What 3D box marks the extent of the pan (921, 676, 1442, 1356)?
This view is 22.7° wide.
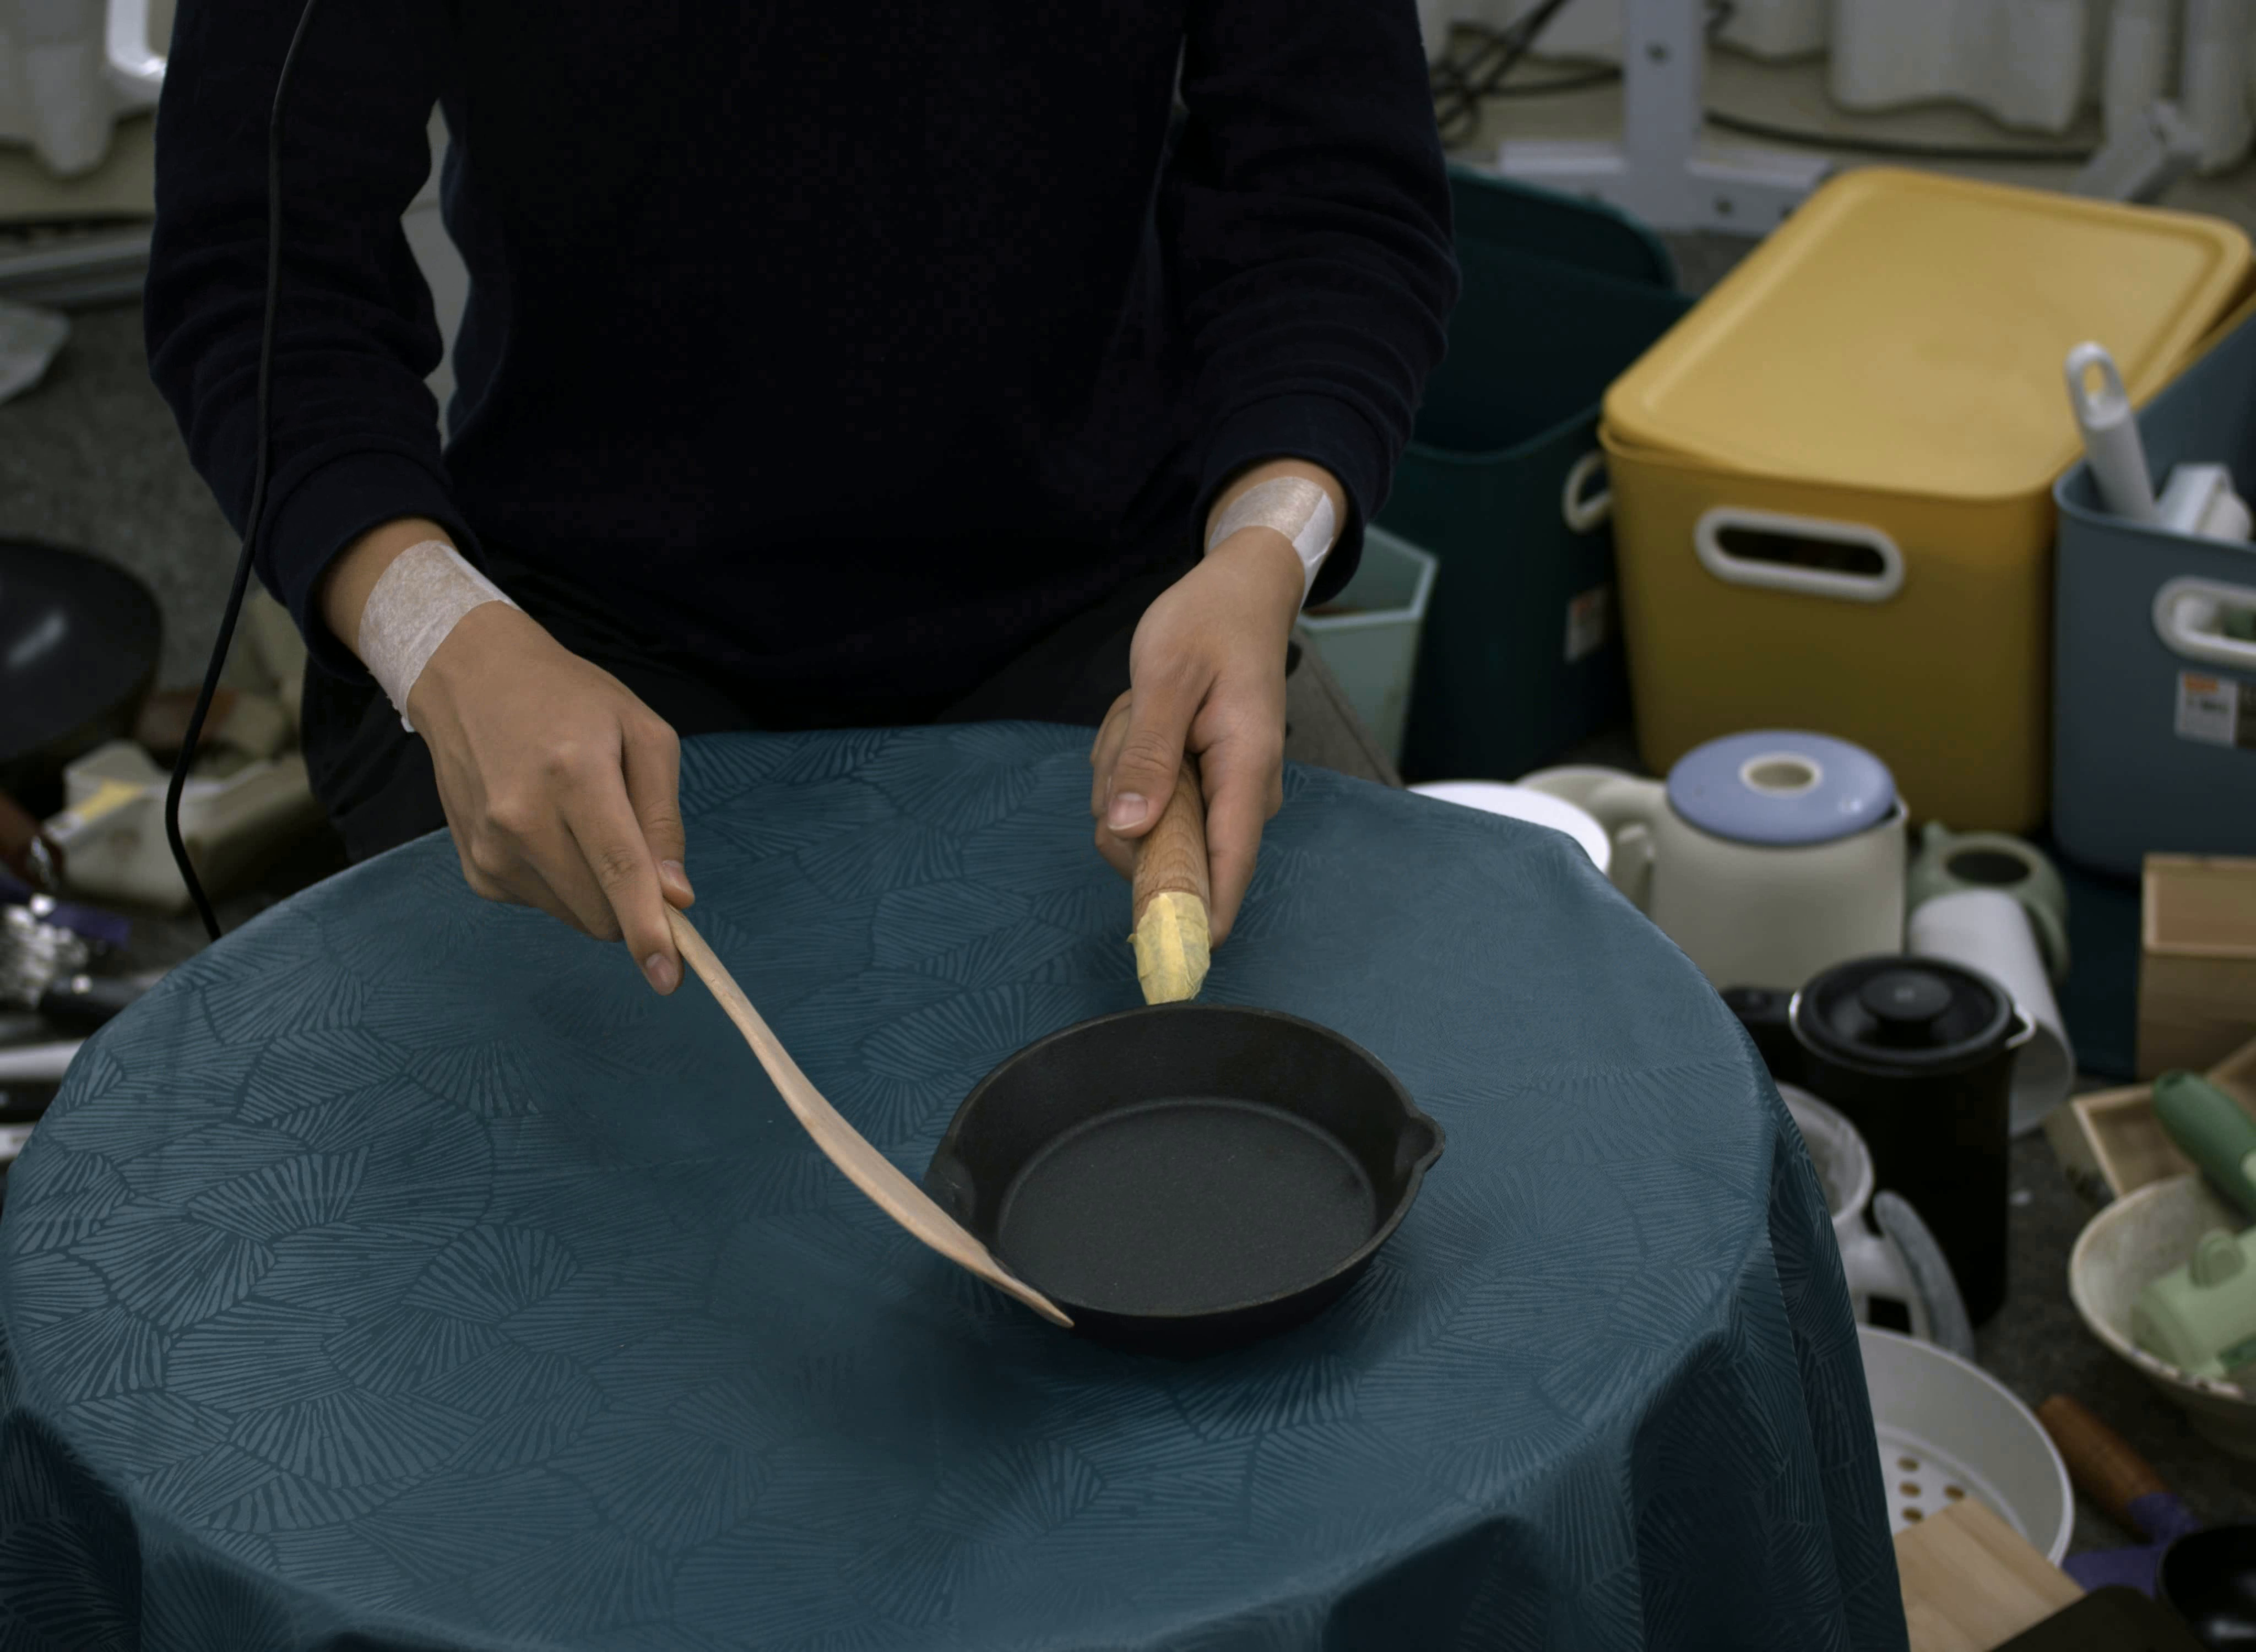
[{"bbox_3d":[0.018,0.061,1.881,0.168,0.049,0.330,-2,37,2],"label":"pan"}]

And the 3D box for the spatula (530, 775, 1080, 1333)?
[{"bbox_3d":[-0.114,0.068,1.815,0.016,0.079,0.330,-49,46,5],"label":"spatula"}]
